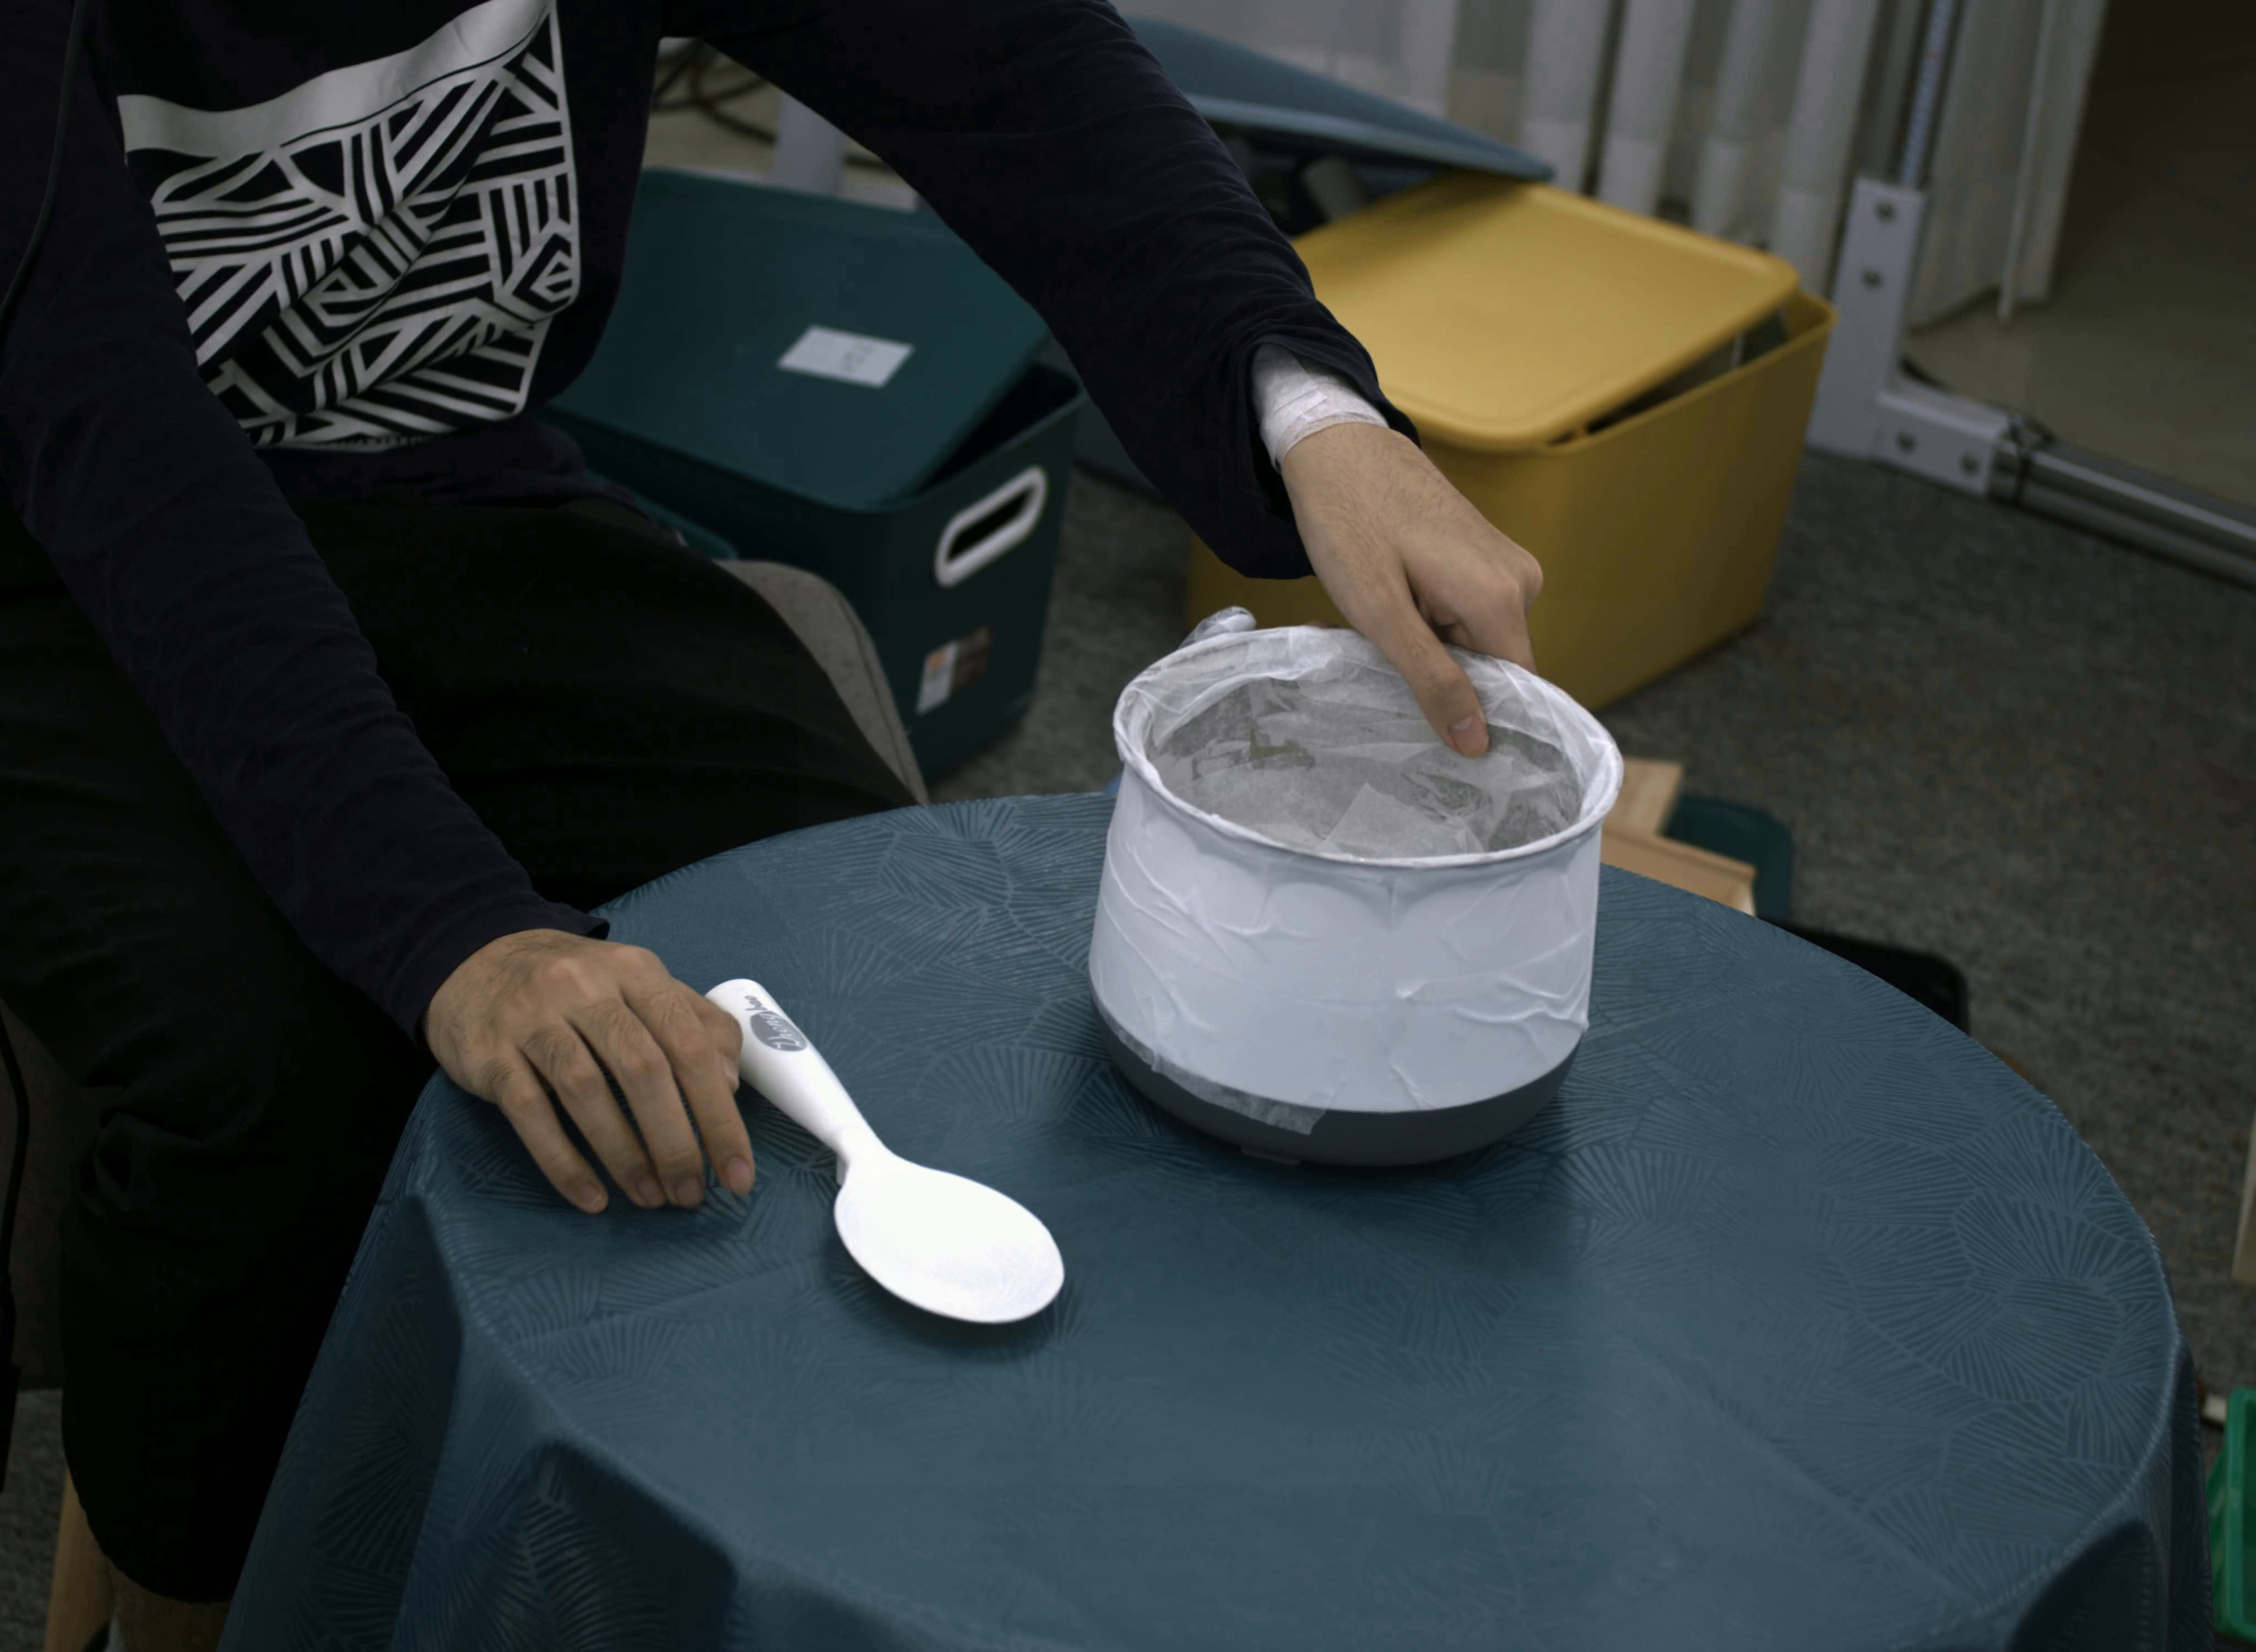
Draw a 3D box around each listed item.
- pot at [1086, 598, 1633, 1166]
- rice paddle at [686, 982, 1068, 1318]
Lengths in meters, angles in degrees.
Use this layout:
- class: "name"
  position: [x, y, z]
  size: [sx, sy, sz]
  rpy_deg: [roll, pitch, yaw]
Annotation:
- class: "pot"
  position: [0.064, 0.013, 1.882]
  size: [0.177, 0.136, 0.236]
  rpy_deg: [-7, 31, -29]
- class: "rice paddle"
  position: [-0.087, 0.110, 1.781]
  size: [0.068, 0.029, 0.207]
  rpy_deg: [-12, 31, -29]
